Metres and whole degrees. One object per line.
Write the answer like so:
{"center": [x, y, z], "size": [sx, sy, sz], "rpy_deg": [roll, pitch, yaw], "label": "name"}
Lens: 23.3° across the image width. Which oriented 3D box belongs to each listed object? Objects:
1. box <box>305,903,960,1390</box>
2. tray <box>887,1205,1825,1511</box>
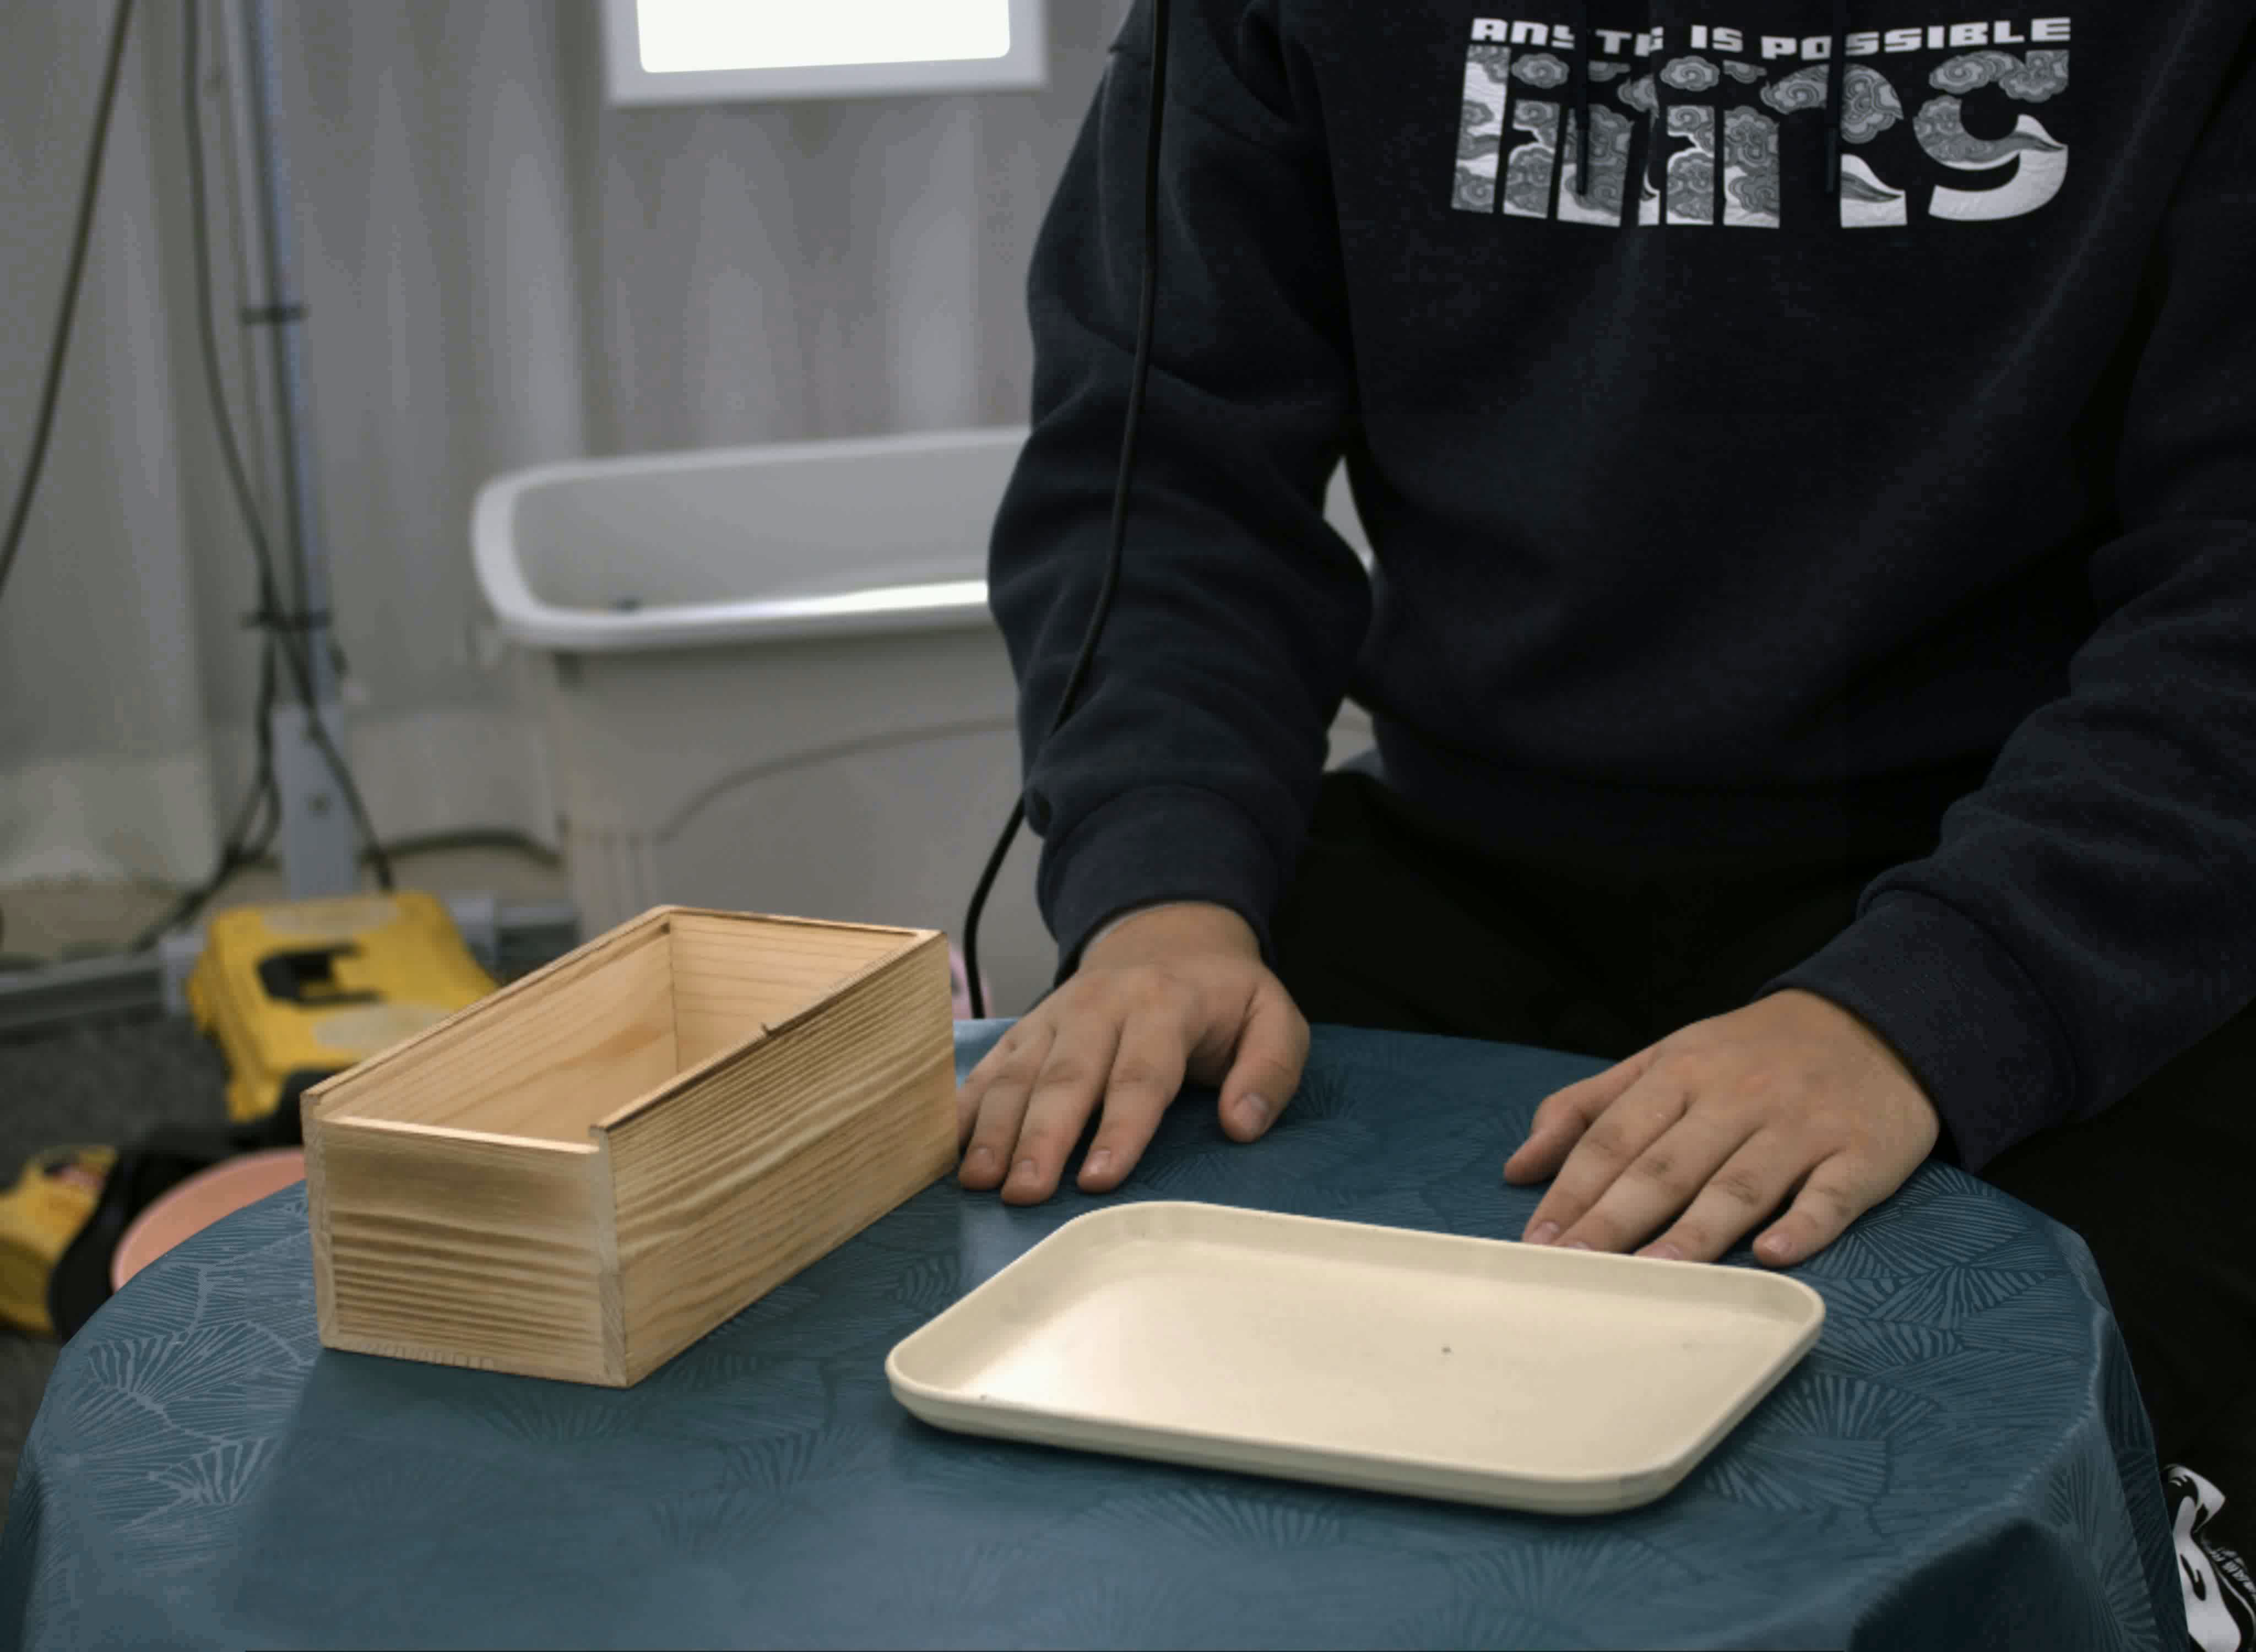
{"center": [-0.146, 0.094, 1.669], "size": [0.107, 0.080, 0.212], "rpy_deg": [5, 16, 25], "label": "box"}
{"center": [0.065, 0.149, 1.542], "size": [0.240, 0.017, 0.171], "rpy_deg": [4, 16, 26], "label": "tray"}
